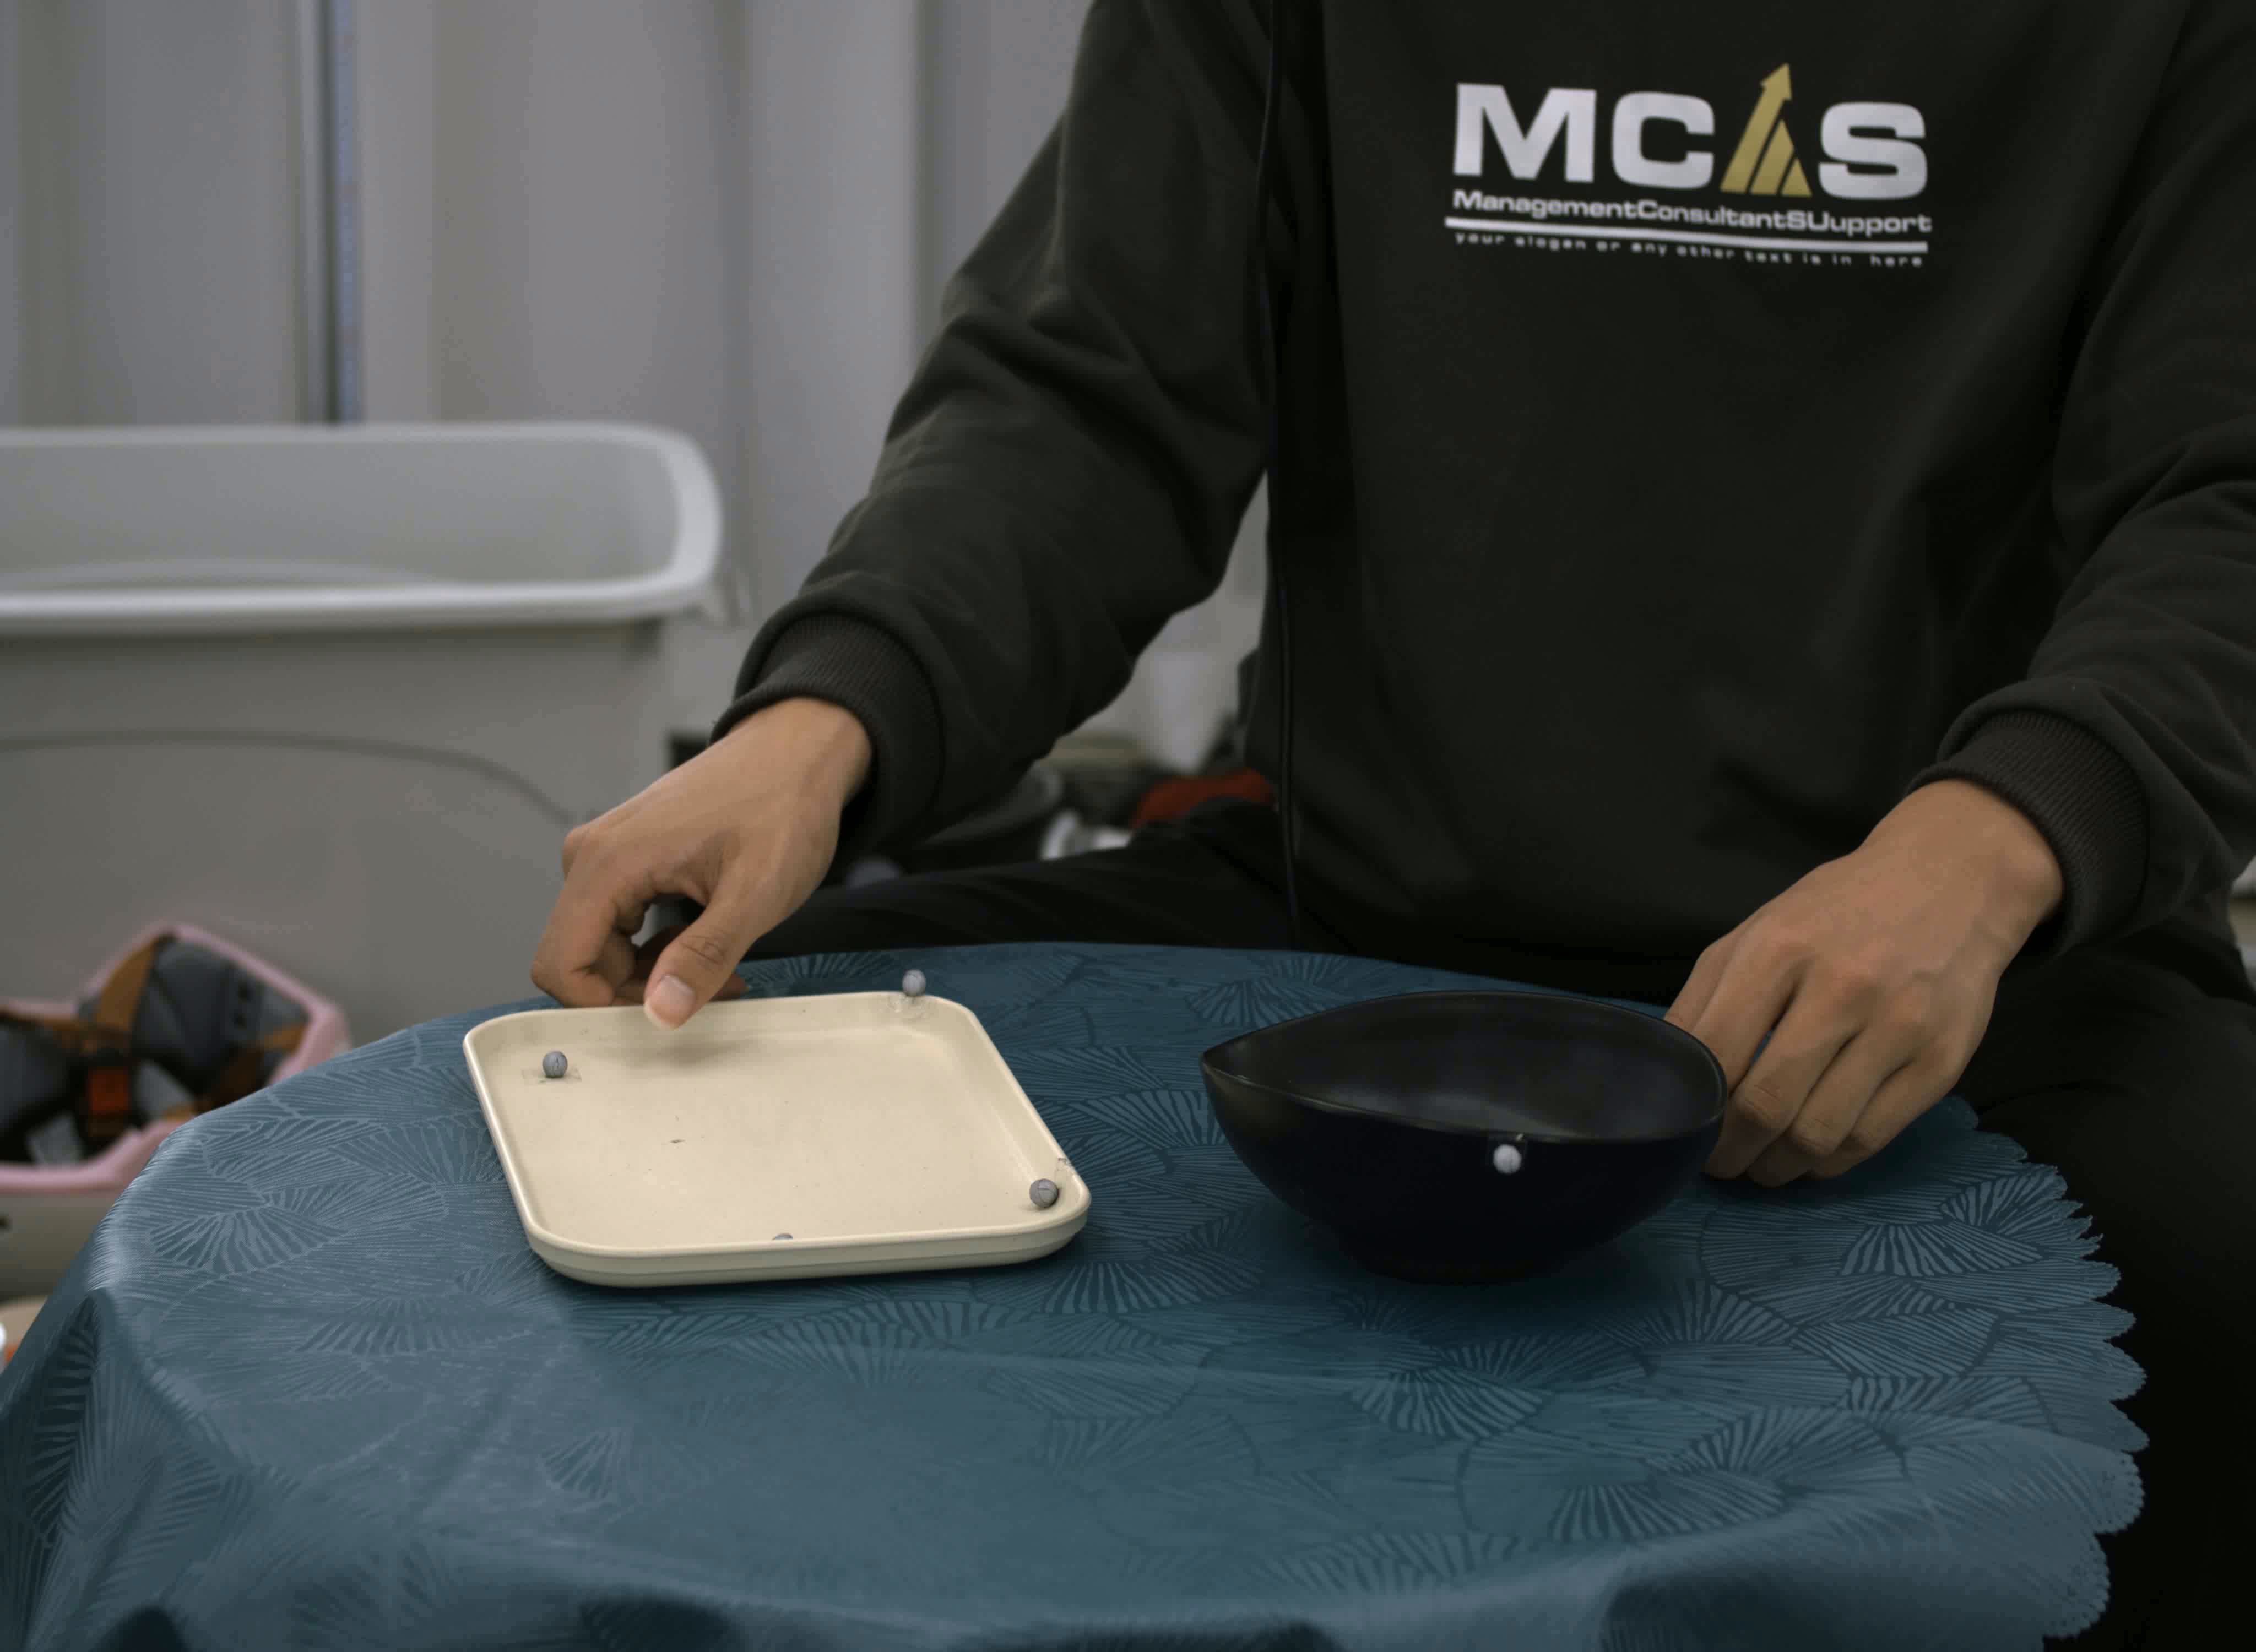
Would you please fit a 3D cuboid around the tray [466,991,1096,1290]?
[{"bbox_3d":[-0.112,0.097,1.648,0.171,0.017,0.237,-3,16,-13],"label":"tray"}]

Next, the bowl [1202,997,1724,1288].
[{"bbox_3d":[0.097,0.098,1.575,0.168,0.067,0.138,10,17,37],"label":"bowl"}]
